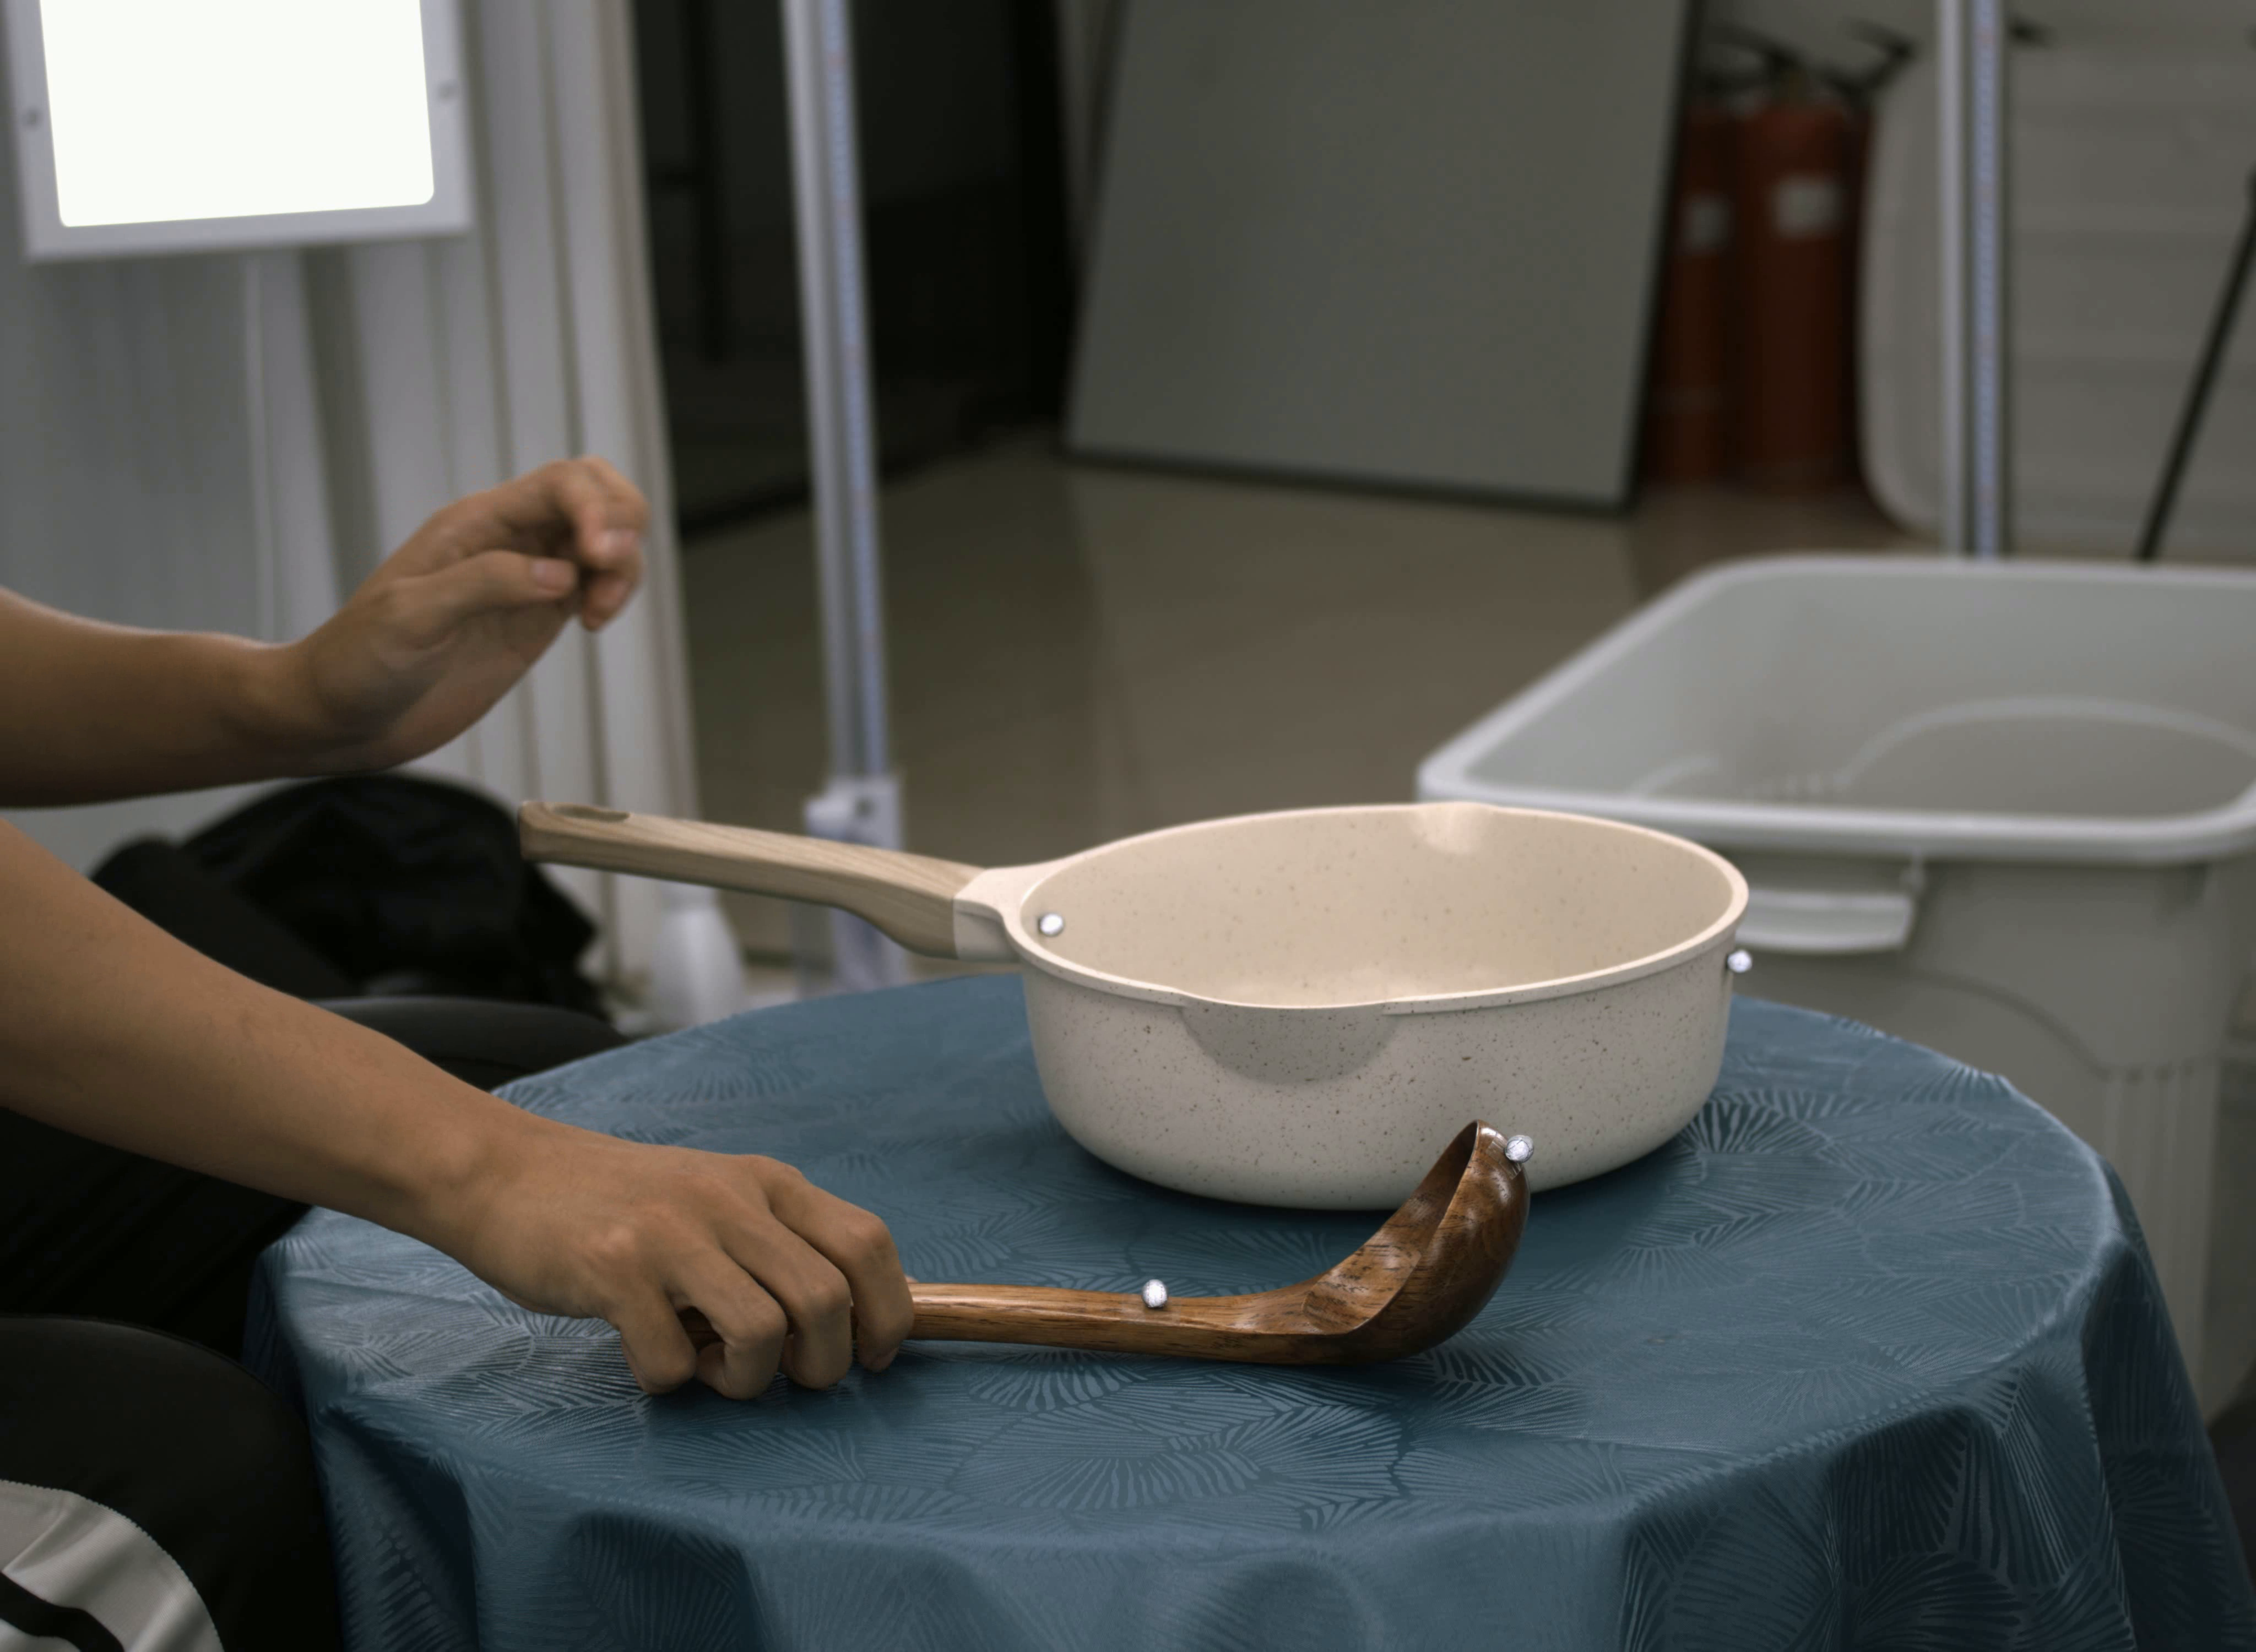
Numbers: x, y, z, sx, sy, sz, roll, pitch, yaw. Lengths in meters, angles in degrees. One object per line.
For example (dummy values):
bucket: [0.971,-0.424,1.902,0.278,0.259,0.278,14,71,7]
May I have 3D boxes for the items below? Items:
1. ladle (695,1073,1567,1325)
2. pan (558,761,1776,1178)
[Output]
ladle: [-0.003,0.112,1.619,0.272,0.077,0.081,0,16,14]
pan: [0.010,0.043,1.861,0.433,0.103,0.261,0,16,18]
